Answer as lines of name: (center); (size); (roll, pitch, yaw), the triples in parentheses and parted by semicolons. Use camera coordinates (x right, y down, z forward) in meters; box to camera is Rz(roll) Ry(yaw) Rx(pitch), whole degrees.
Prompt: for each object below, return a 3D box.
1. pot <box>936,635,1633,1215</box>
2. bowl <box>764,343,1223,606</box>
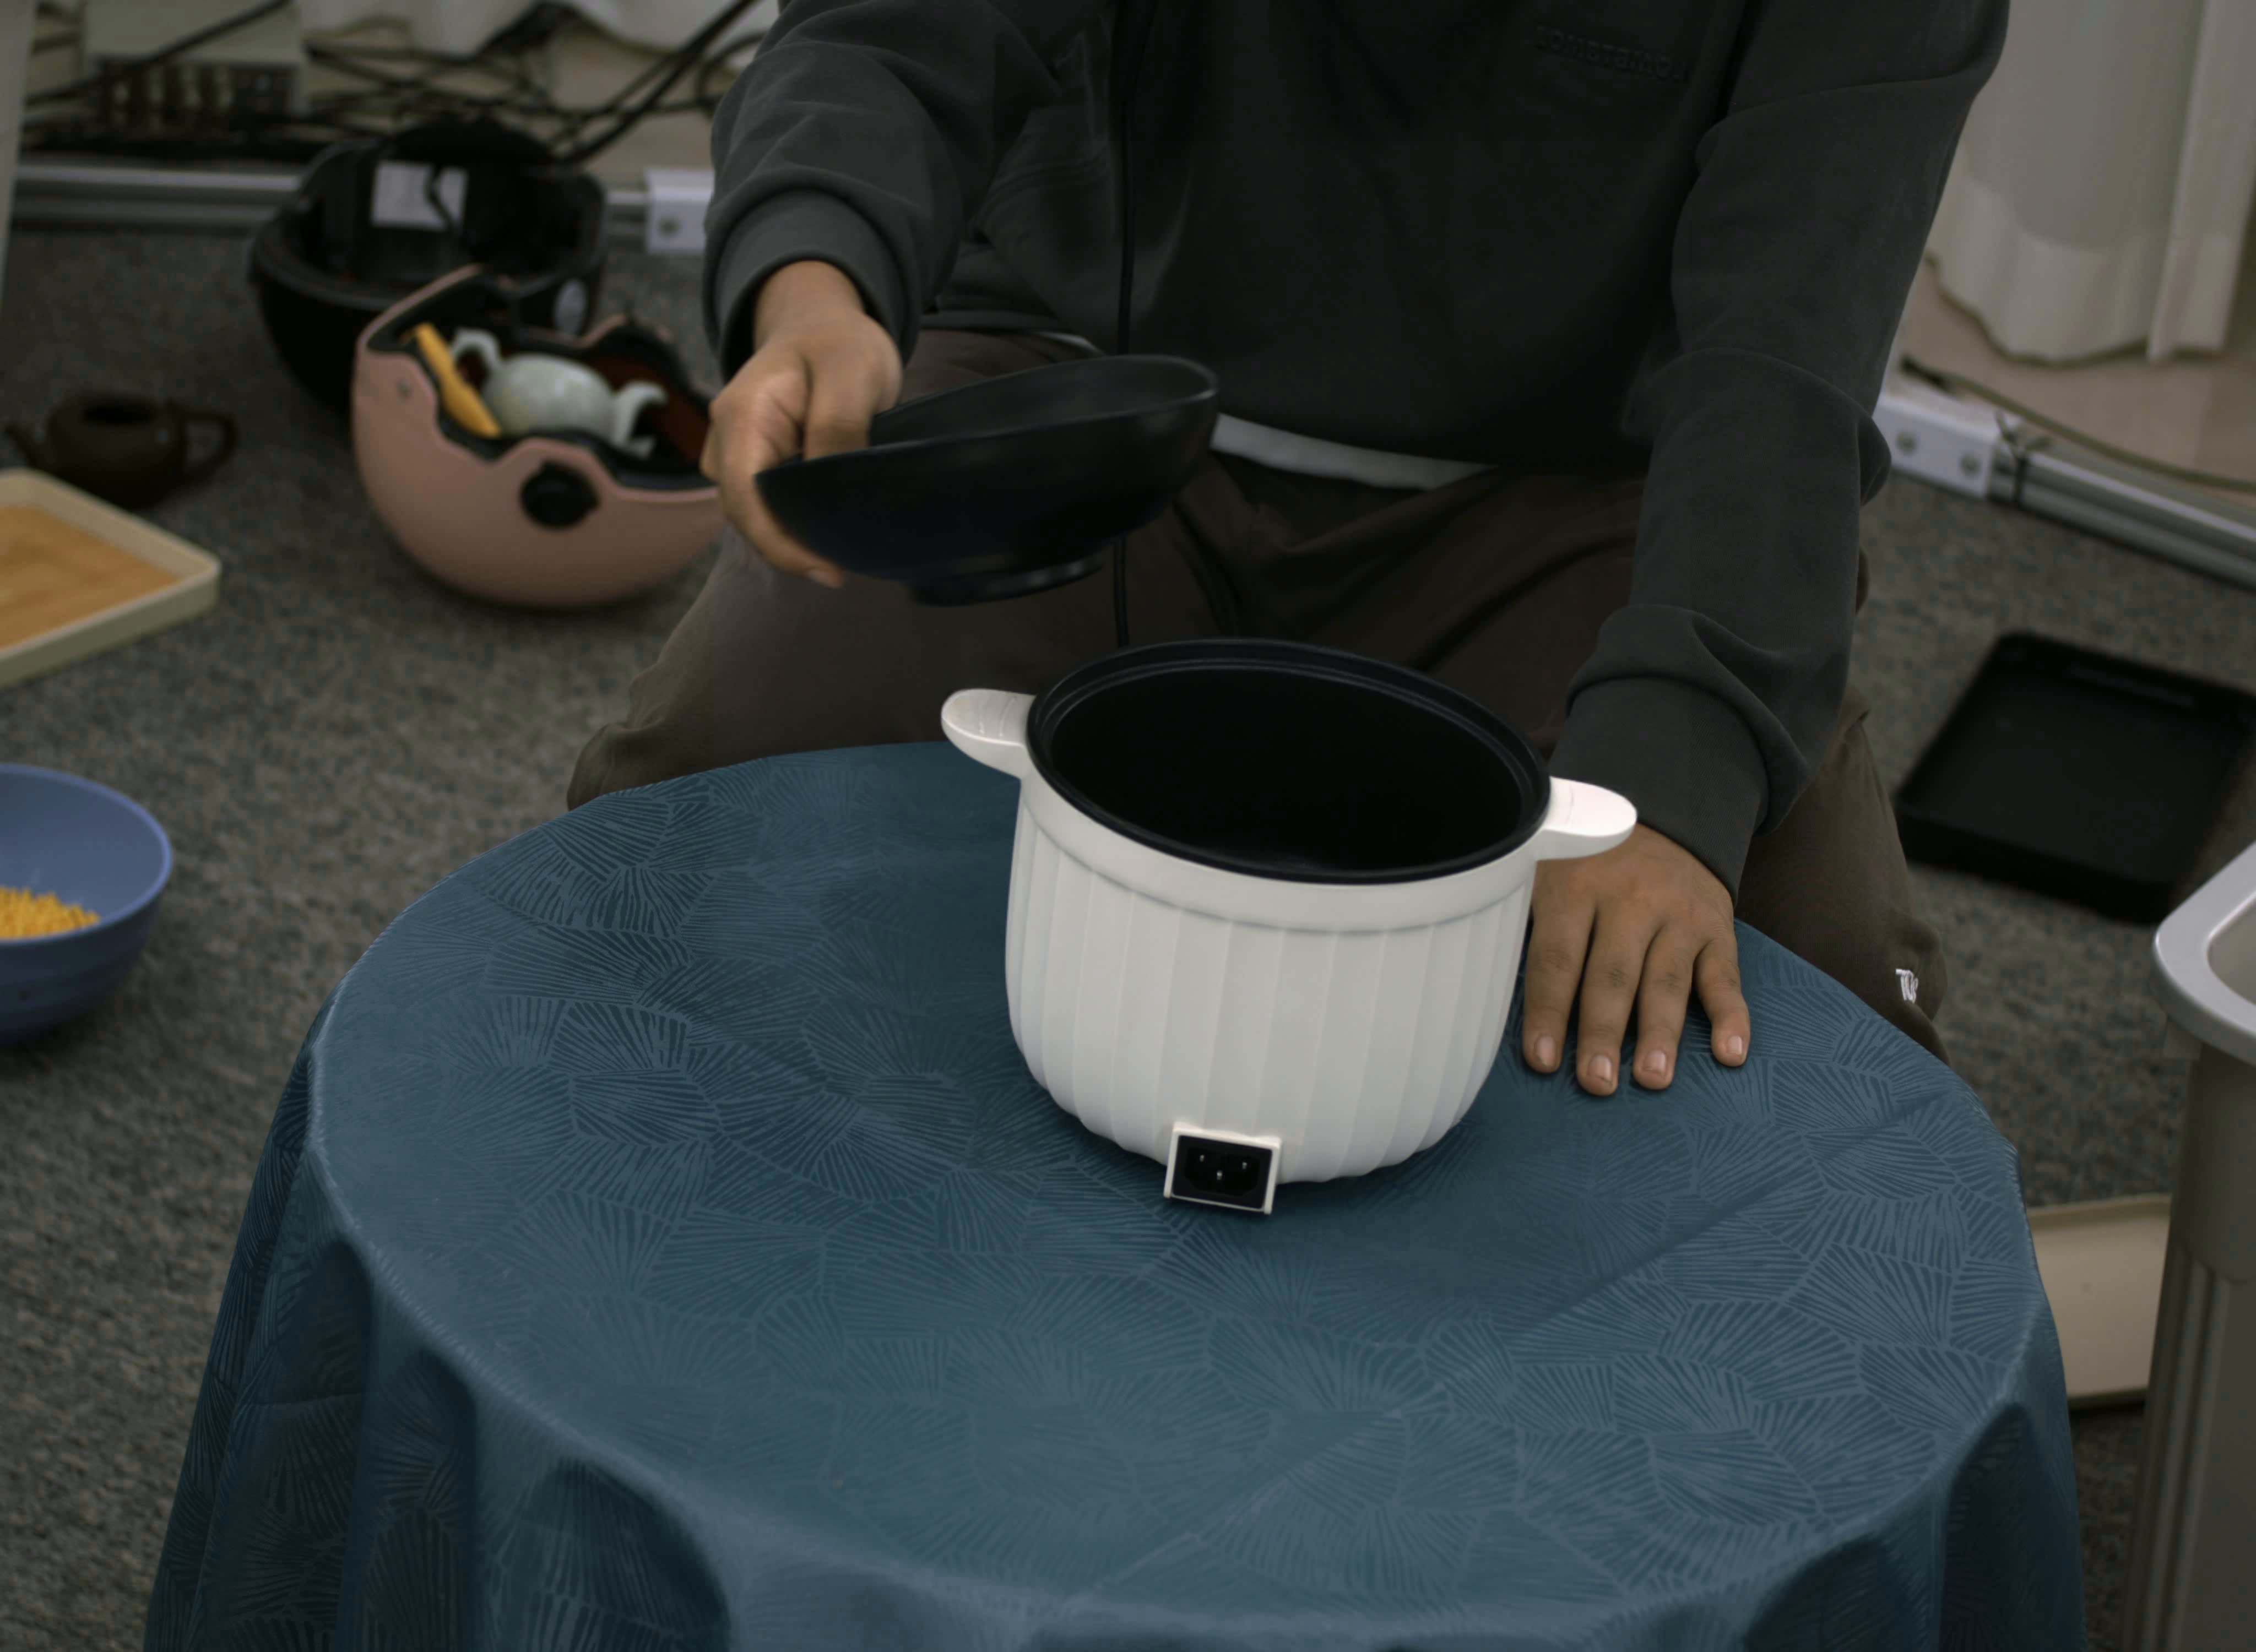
pot: (0.046, 0.031, 1.848); (0.240, 0.142, 0.191); (9, 30, 2)
bowl: (-0.044, -0.115, 1.822); (0.170, 0.066, 0.137); (-8, 13, 24)
